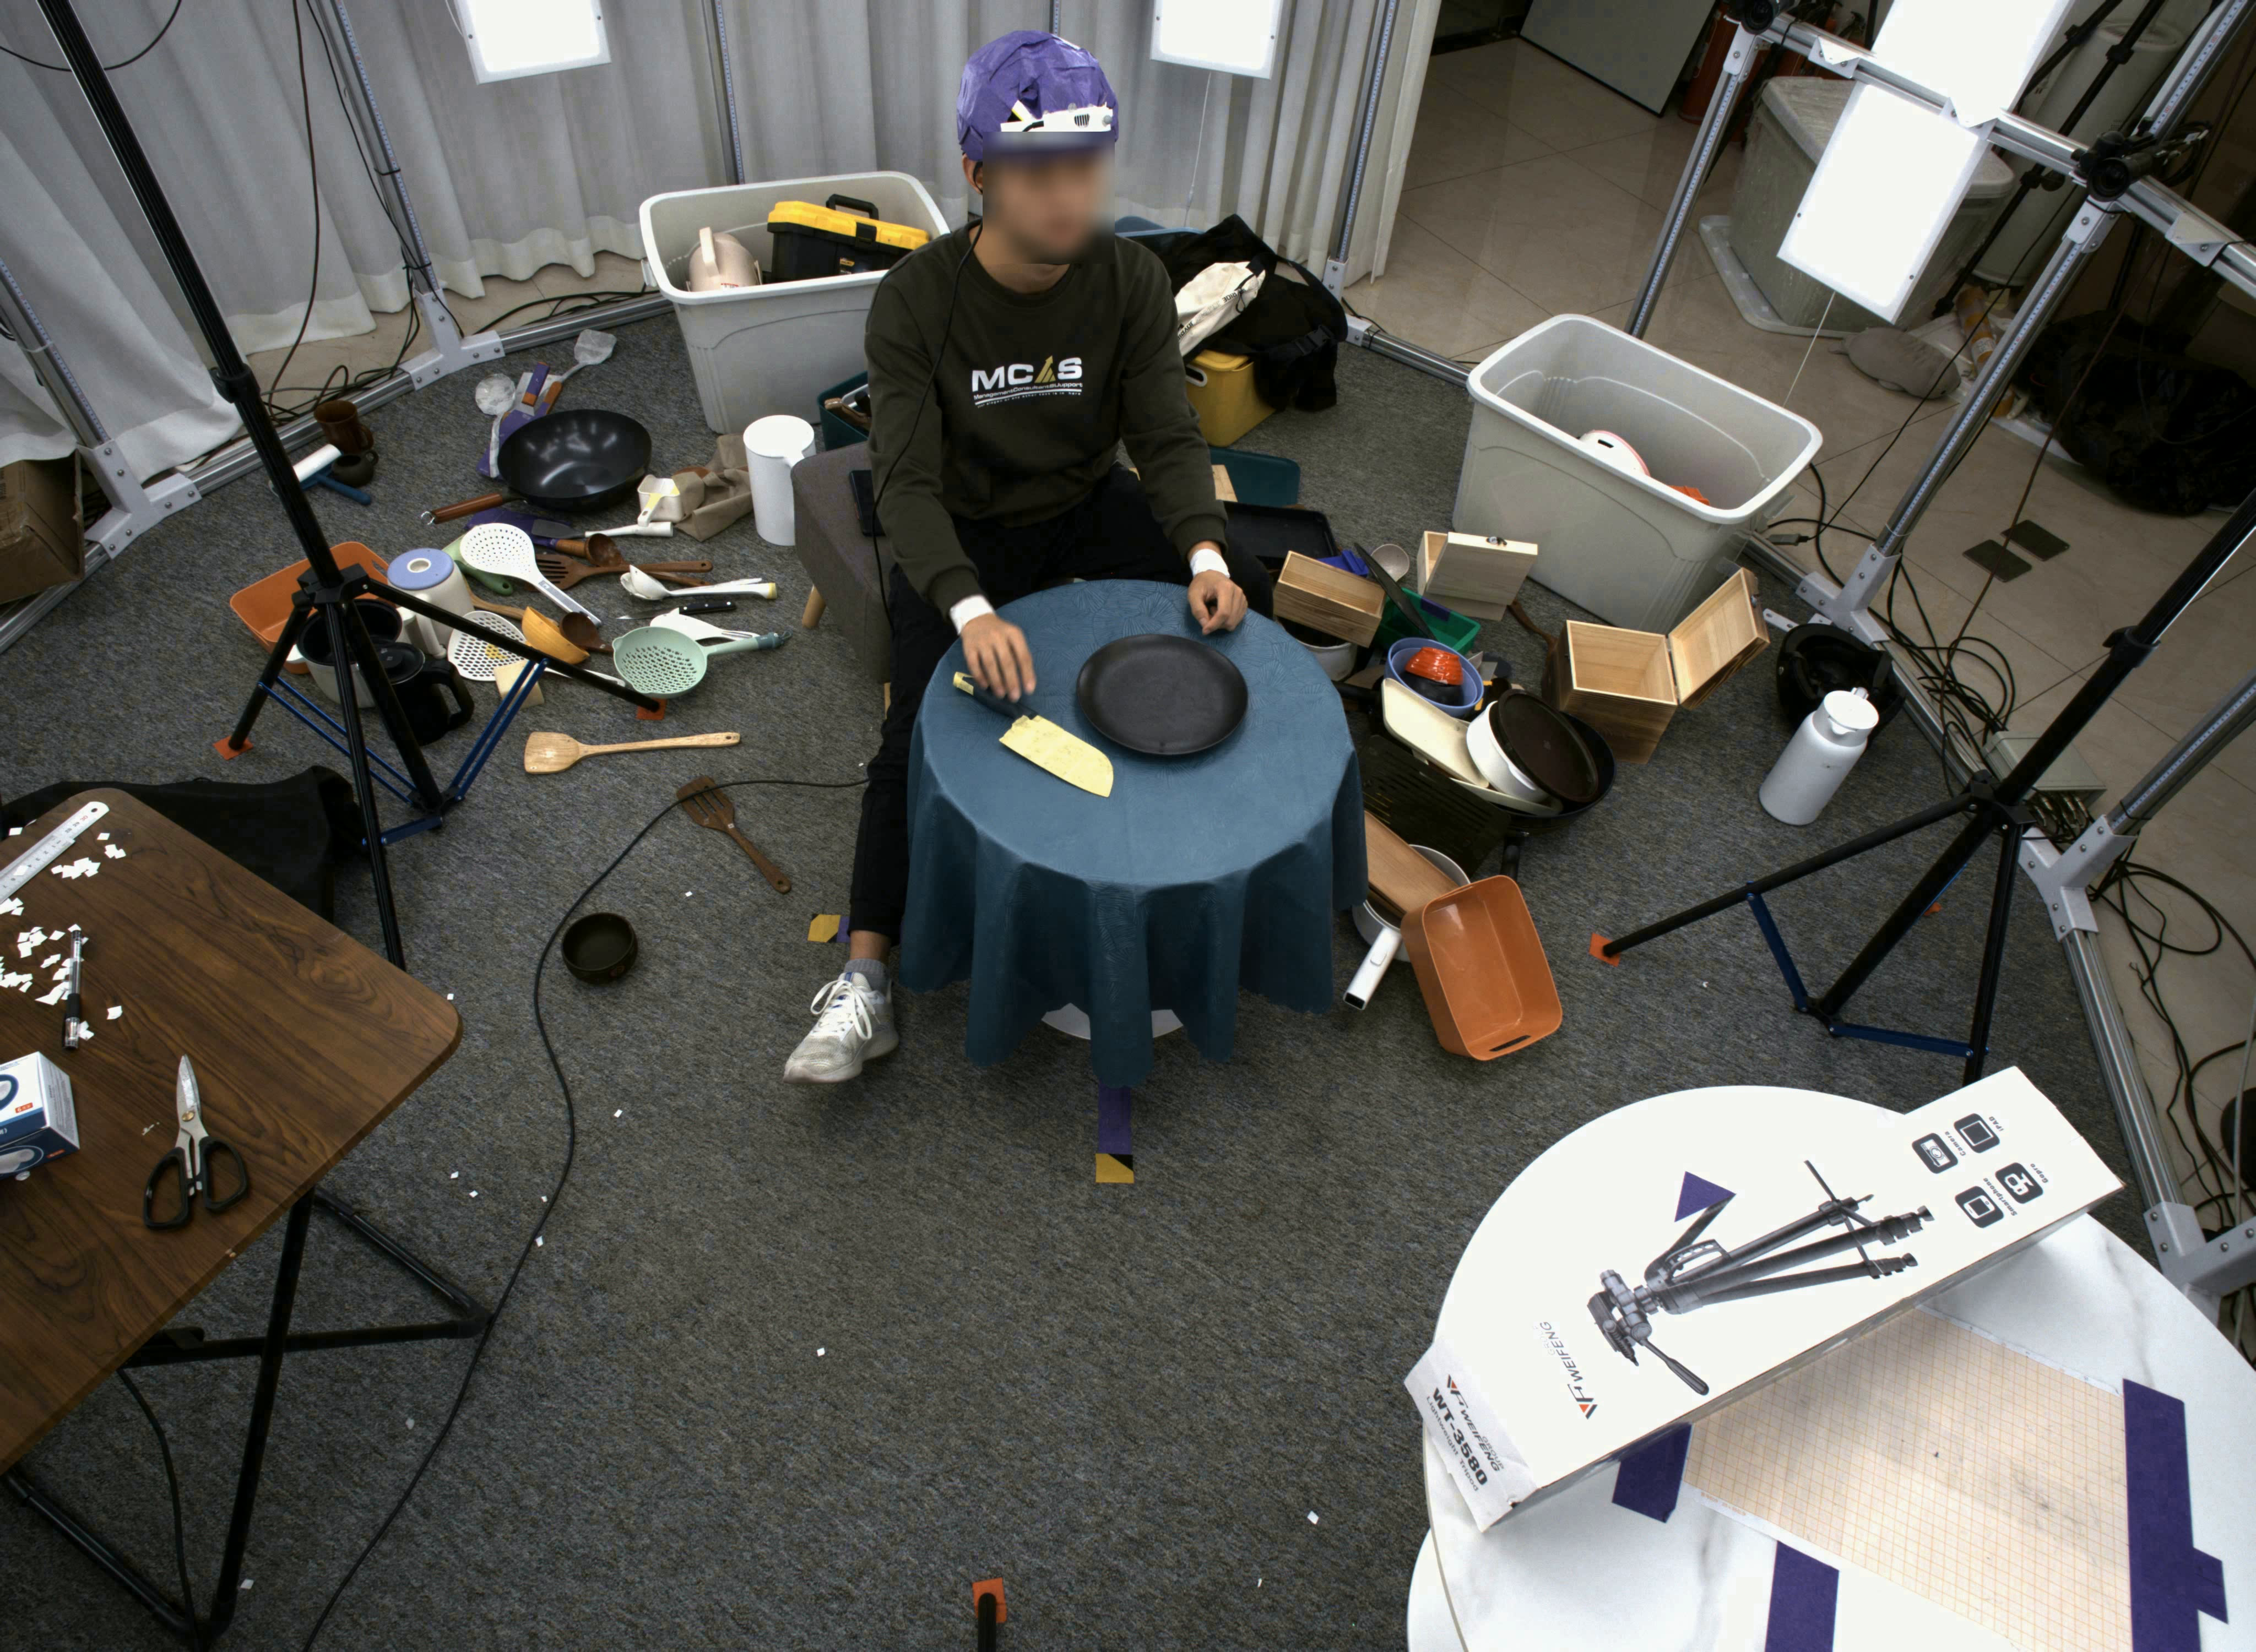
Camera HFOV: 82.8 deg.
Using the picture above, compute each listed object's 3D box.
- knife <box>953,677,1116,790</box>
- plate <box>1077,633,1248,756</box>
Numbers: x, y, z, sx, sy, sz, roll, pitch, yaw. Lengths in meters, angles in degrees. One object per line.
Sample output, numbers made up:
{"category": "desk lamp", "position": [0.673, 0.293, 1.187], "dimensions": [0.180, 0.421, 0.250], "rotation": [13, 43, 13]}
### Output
{"category": "knife", "position": [-0.135, -0.126, 1.758], "dimensions": [0.293, 0.026, 0.082], "rotation": [32, 53, 21]}
{"category": "plate", "position": [0.048, -0.184, 1.815], "dimensions": [0.244, 0.023, 0.250], "rotation": [2, 49, -2]}
